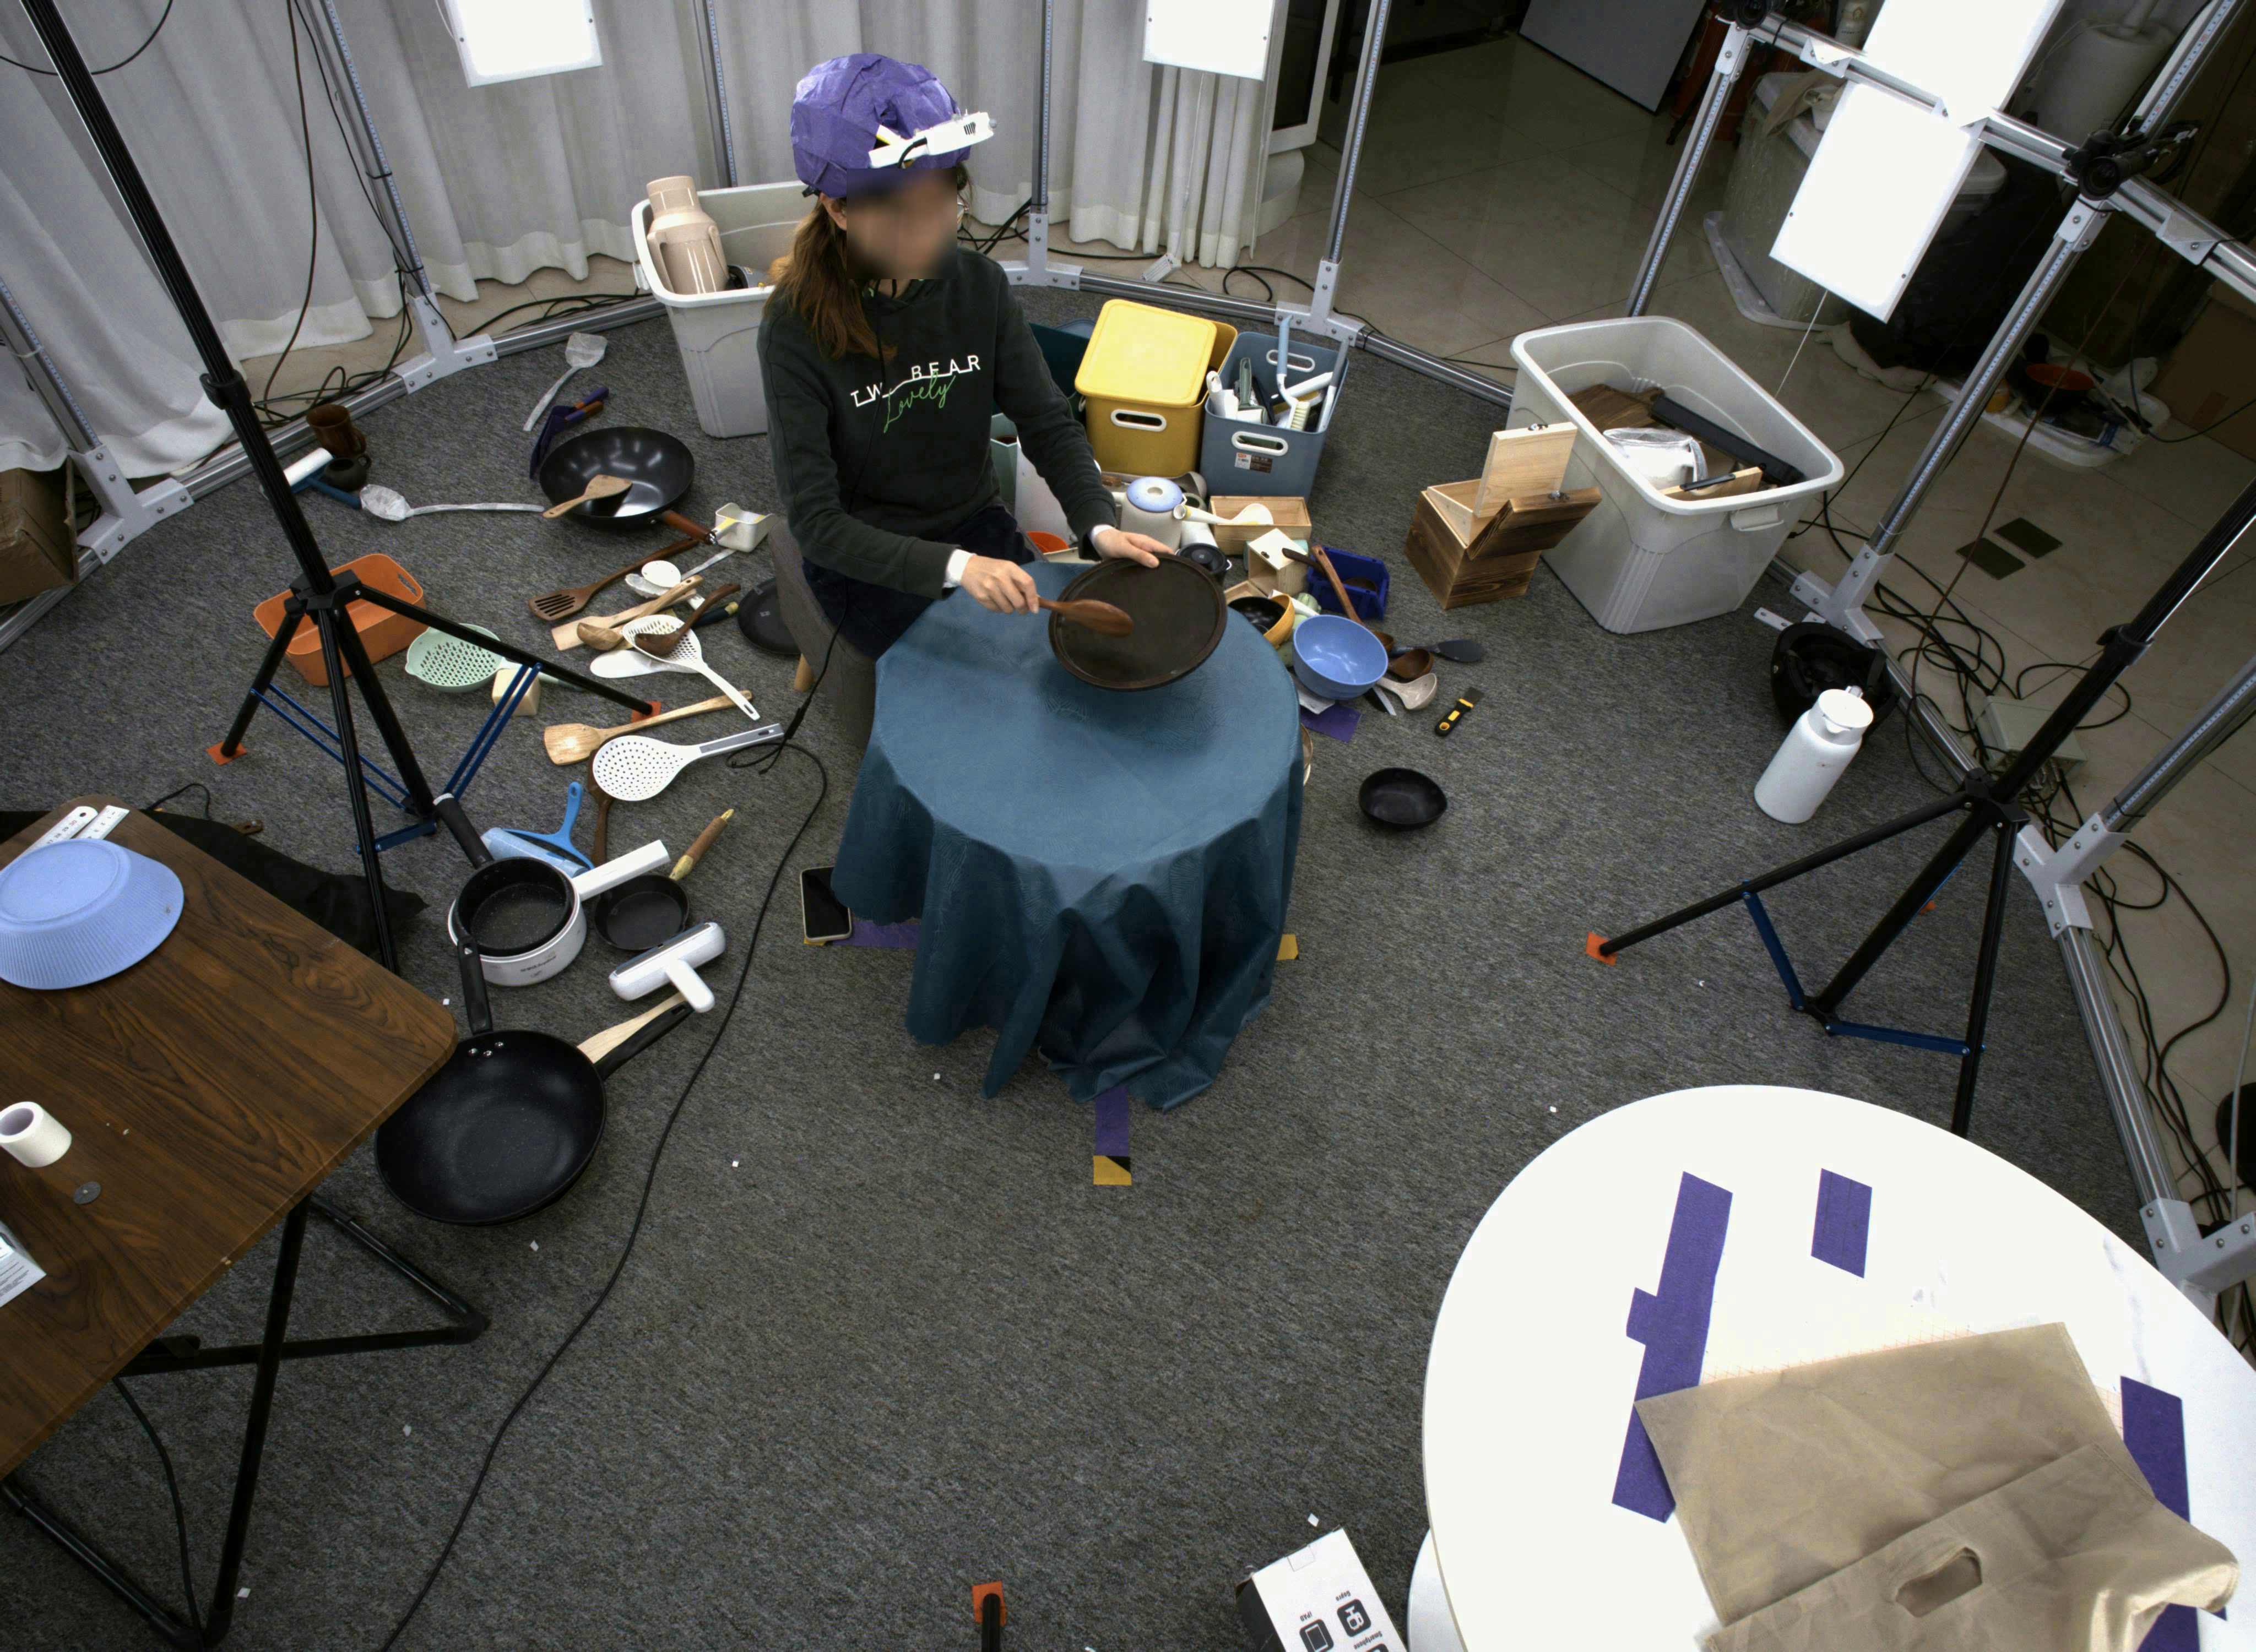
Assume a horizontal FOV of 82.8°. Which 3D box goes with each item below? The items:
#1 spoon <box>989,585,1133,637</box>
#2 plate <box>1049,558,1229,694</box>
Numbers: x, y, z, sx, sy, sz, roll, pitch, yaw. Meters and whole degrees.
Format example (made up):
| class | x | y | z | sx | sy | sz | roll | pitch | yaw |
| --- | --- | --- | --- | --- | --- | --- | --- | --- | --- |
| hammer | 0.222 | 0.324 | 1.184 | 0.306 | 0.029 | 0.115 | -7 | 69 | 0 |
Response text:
| class | x | y | z | sx | sy | sz | roll | pitch | yaw |
| --- | --- | --- | --- | --- | --- | --- | --- | --- | --- |
| spoon | -0.094 | -0.294 | 1.756 | 0.217 | 0.074 | 0.017 | 18 | 73 | 20 |
| plate | 0.017 | -0.284 | 1.810 | 0.255 | 0.028 | 0.261 | -5 | 54 | 7 |
